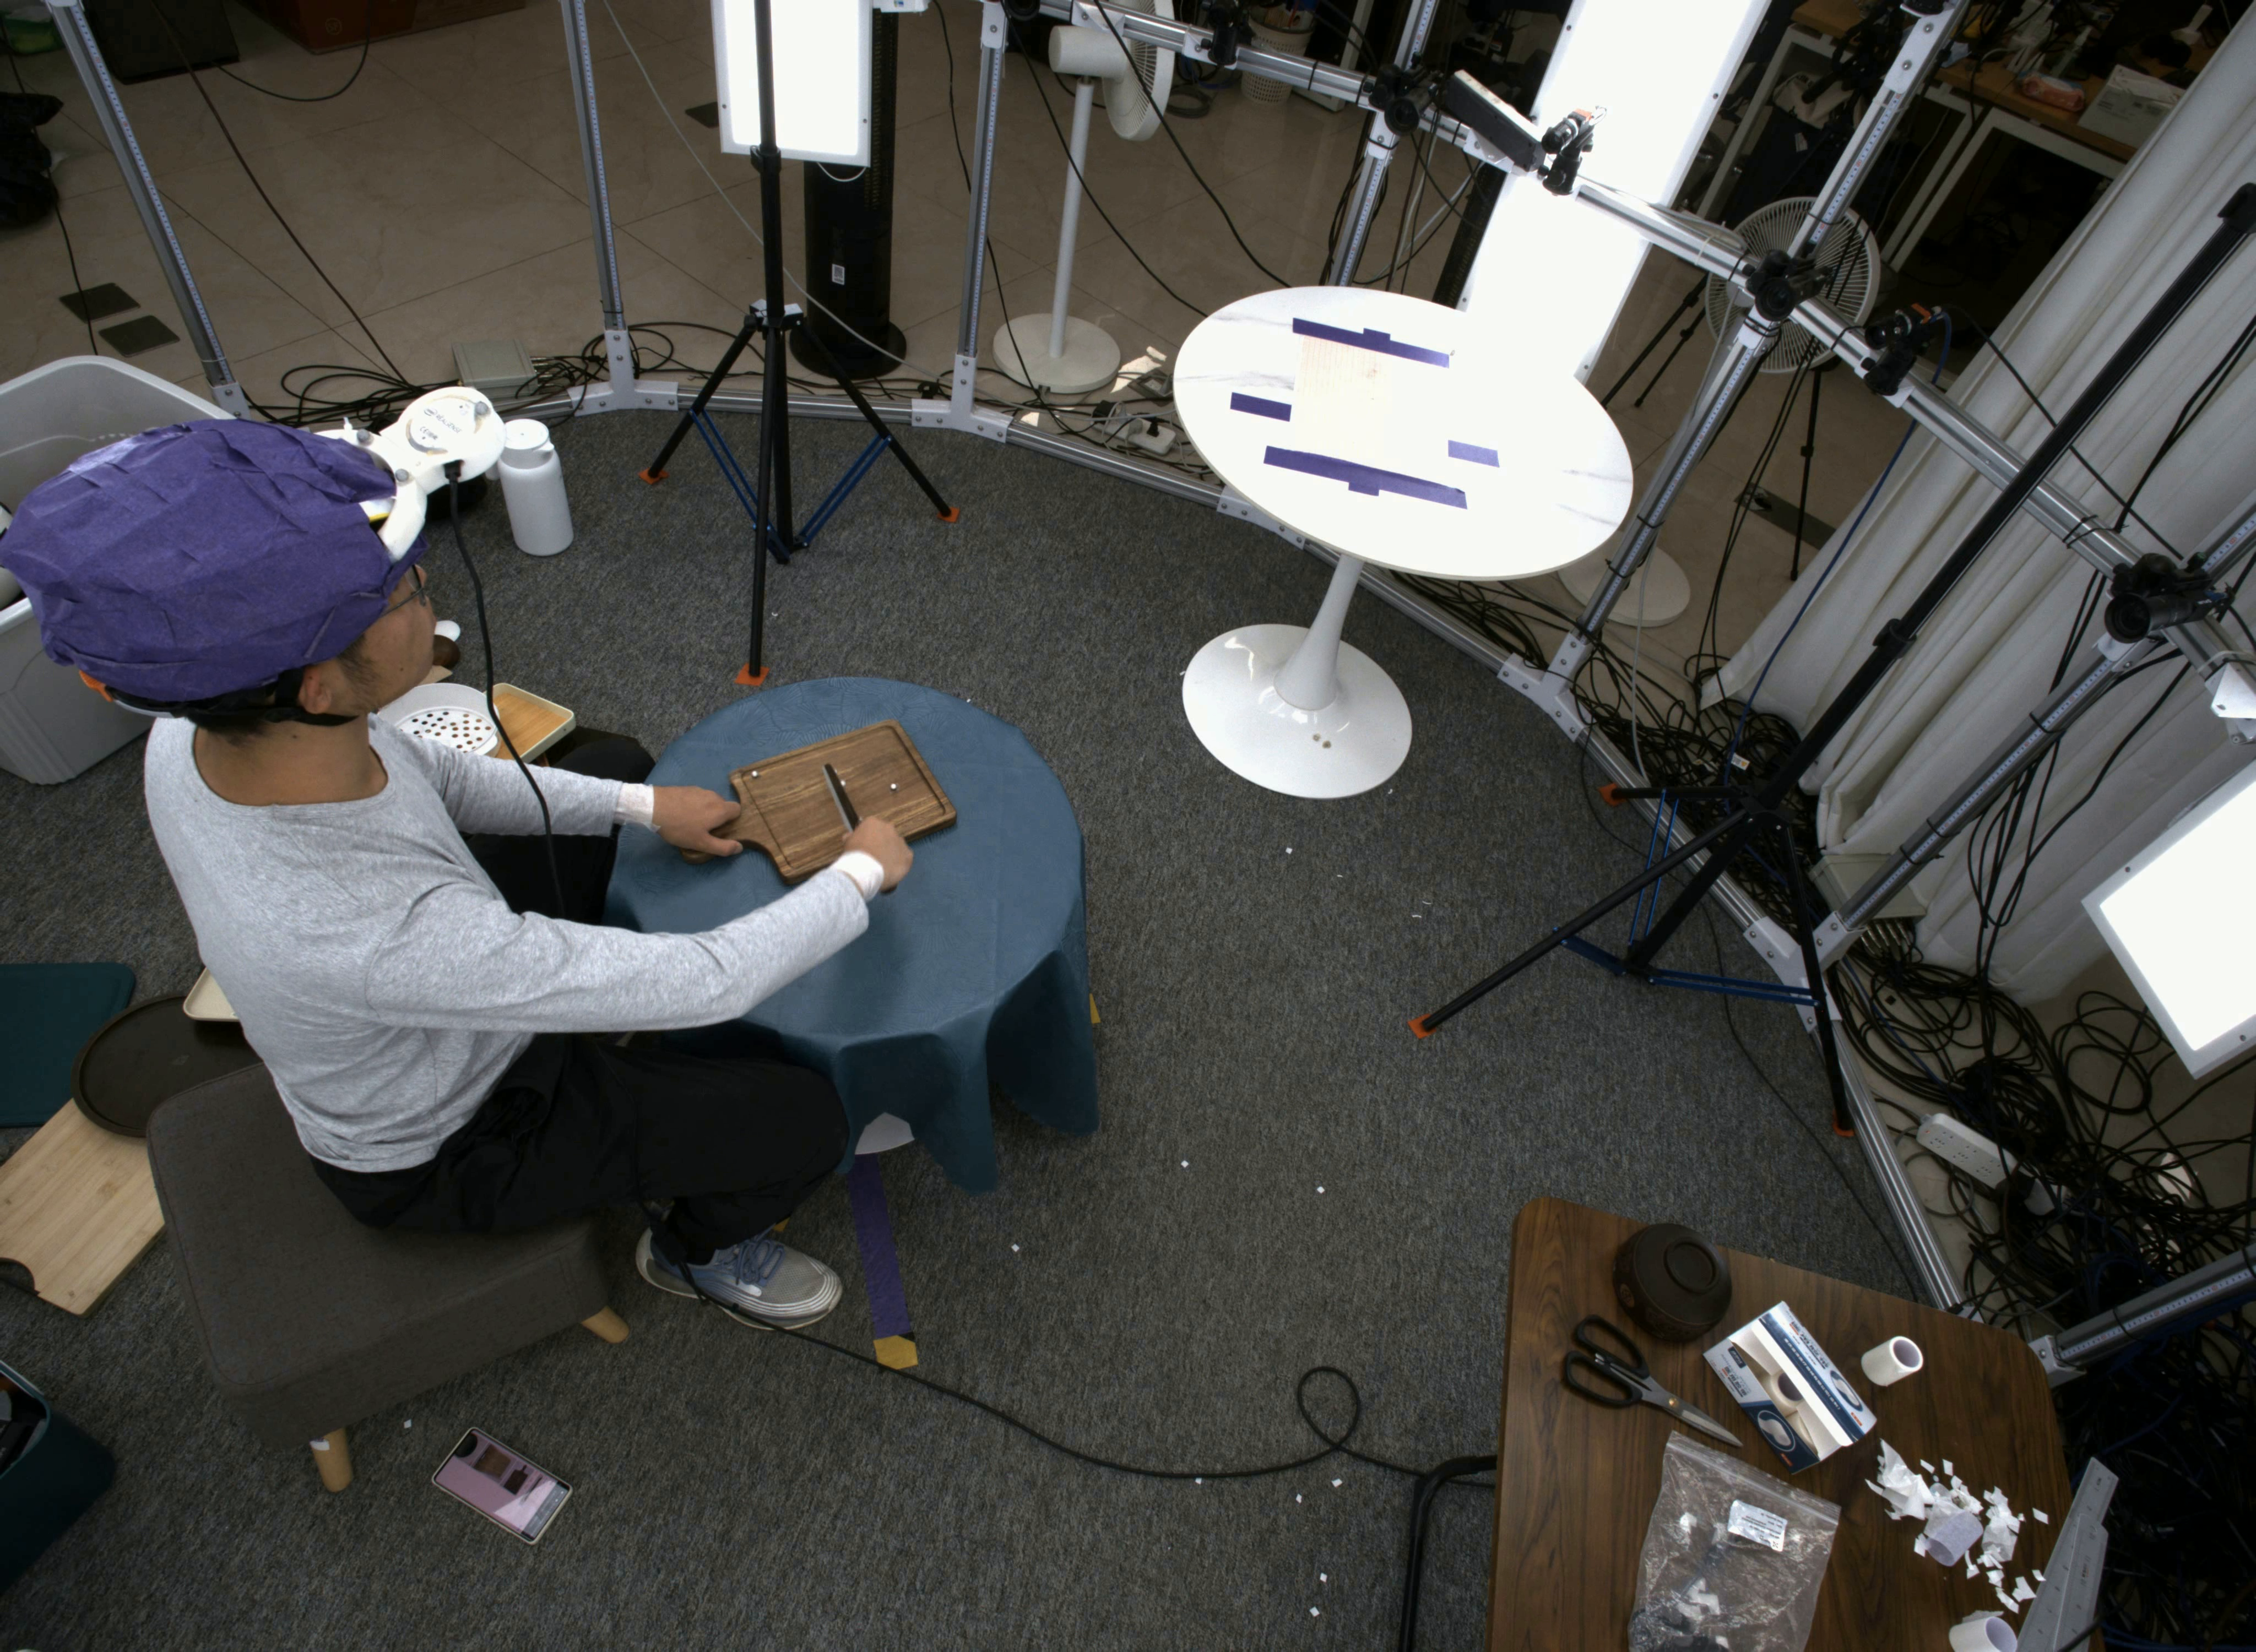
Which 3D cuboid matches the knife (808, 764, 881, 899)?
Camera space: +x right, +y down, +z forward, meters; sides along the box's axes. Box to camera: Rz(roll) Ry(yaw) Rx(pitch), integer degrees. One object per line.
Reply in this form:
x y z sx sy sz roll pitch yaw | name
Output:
-0.370 0.001 1.660 0.020 0.051 0.279 -8 39 -29 | knife

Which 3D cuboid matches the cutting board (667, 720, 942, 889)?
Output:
-0.446 -0.020 1.731 0.354 0.023 0.196 -23 62 -28 | cutting board
